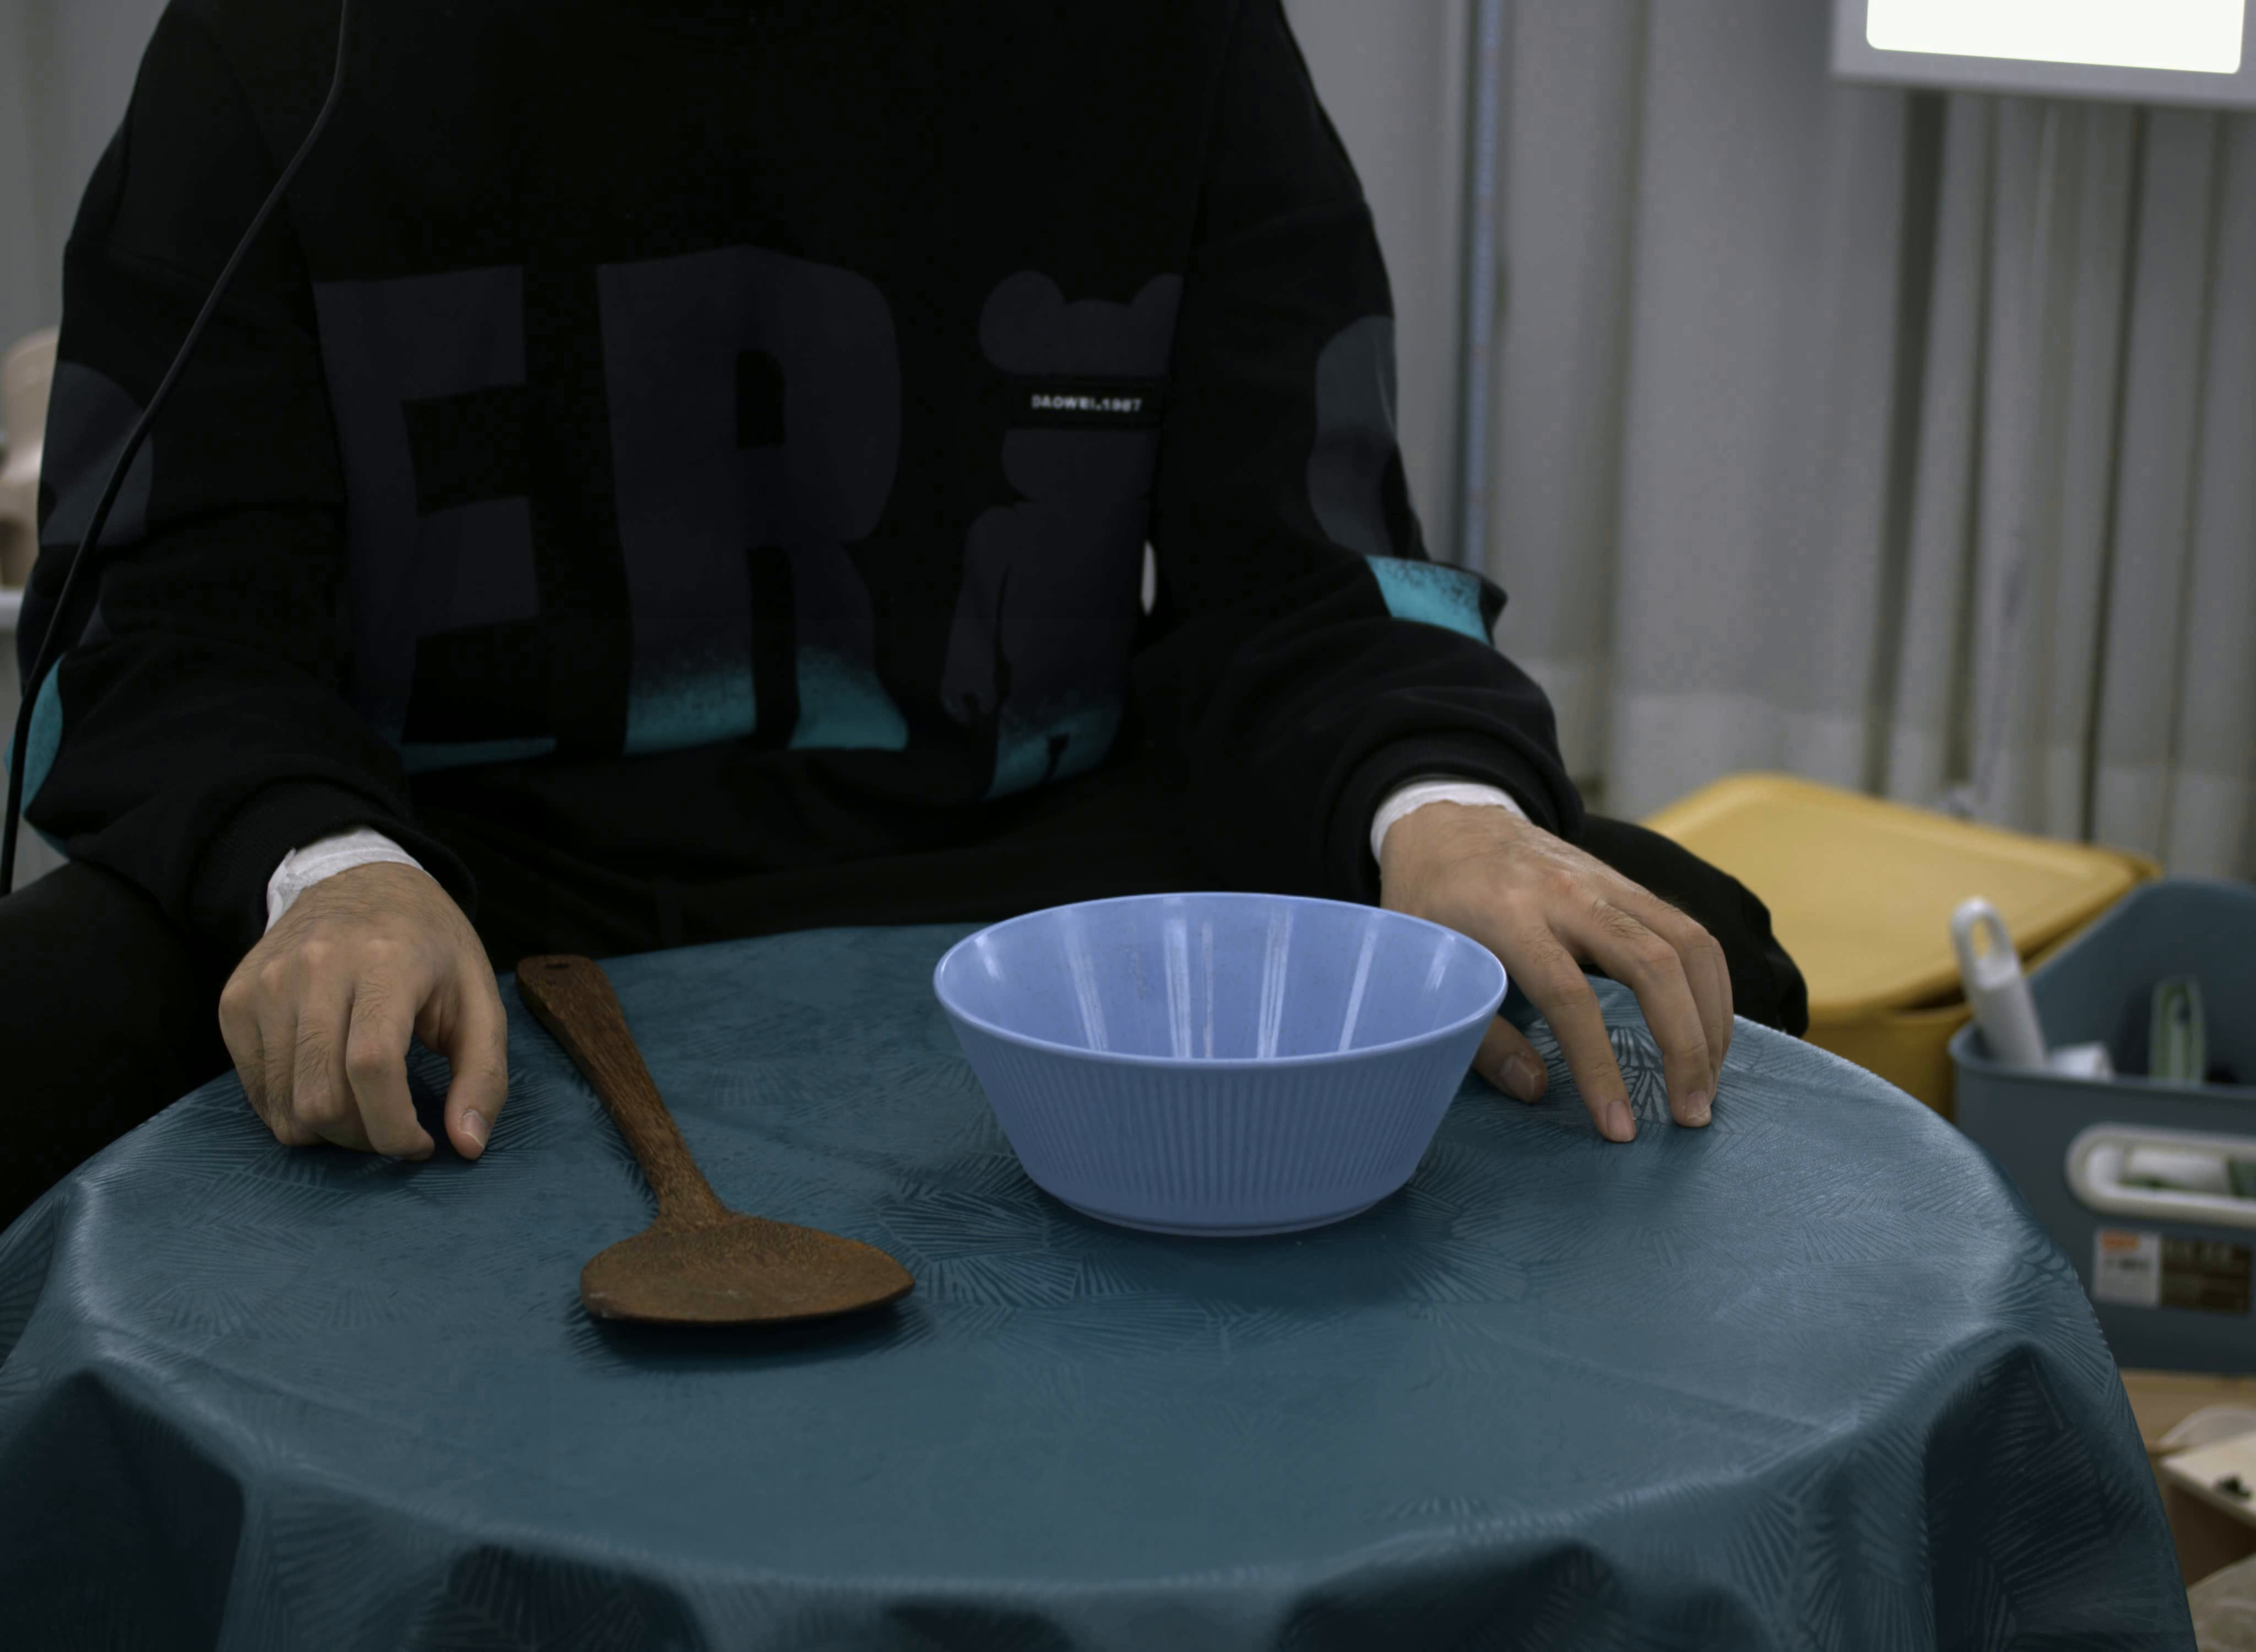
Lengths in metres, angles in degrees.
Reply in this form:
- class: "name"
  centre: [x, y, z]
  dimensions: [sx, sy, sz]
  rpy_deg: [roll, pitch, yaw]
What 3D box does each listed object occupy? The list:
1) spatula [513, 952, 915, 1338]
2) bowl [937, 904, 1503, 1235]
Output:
- class: "spatula"
  centre: [-0.152, 0.094, 1.660]
  dimensions: [0.096, 0.016, 0.382]
  rpy_deg: [-3, 16, -15]
- class: "bowl"
  centre: [0.028, 0.077, 1.626]
  dimensions: [0.175, 0.071, 0.175]
  rpy_deg: [1, 15, 0]
